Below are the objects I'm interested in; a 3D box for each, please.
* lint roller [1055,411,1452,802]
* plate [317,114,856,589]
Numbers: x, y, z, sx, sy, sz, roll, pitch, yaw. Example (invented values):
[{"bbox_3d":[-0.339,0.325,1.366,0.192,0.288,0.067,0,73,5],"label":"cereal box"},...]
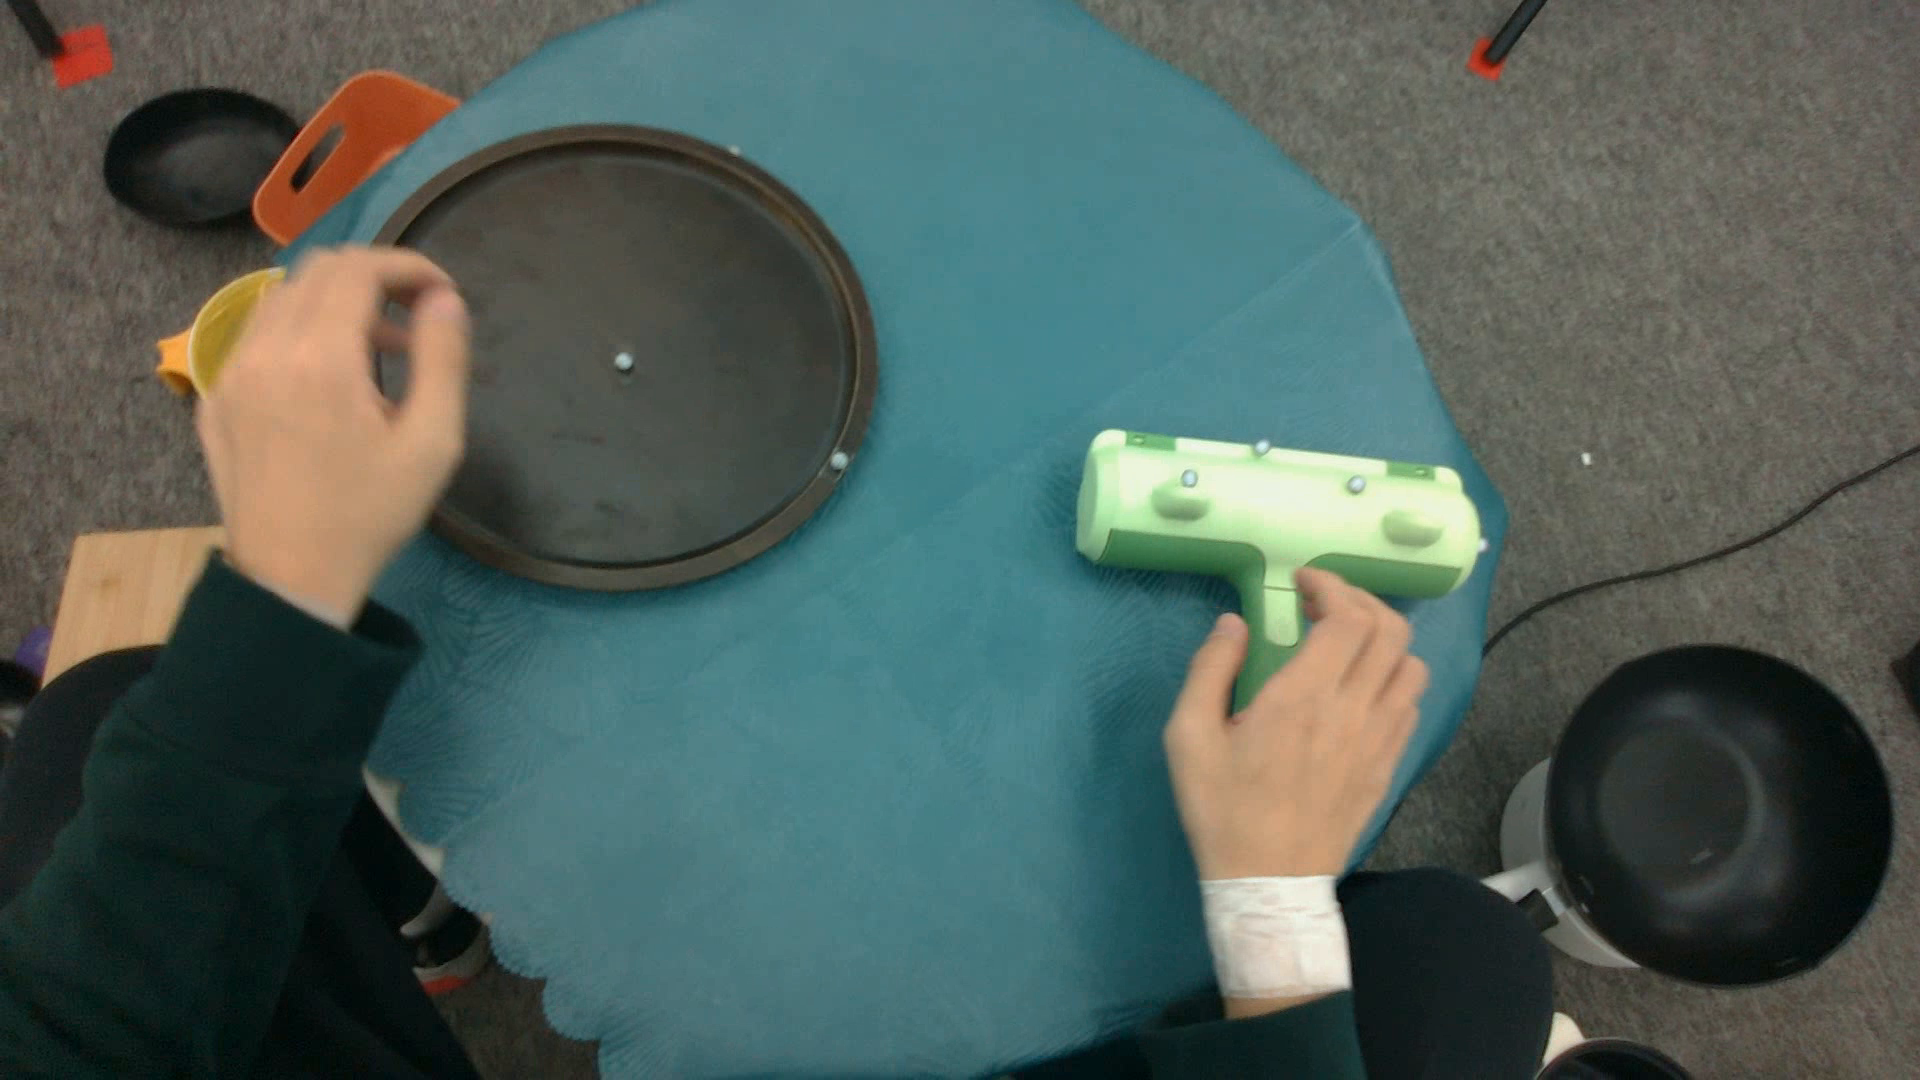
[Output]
[{"bbox_3d":[0.147,0.029,0.667,0.199,0.082,0.184,5,68,-9],"label":"lint roller"},{"bbox_3d":[-0.178,-0.096,0.676,0.255,0.029,0.255,4,72,-11],"label":"plate"}]
